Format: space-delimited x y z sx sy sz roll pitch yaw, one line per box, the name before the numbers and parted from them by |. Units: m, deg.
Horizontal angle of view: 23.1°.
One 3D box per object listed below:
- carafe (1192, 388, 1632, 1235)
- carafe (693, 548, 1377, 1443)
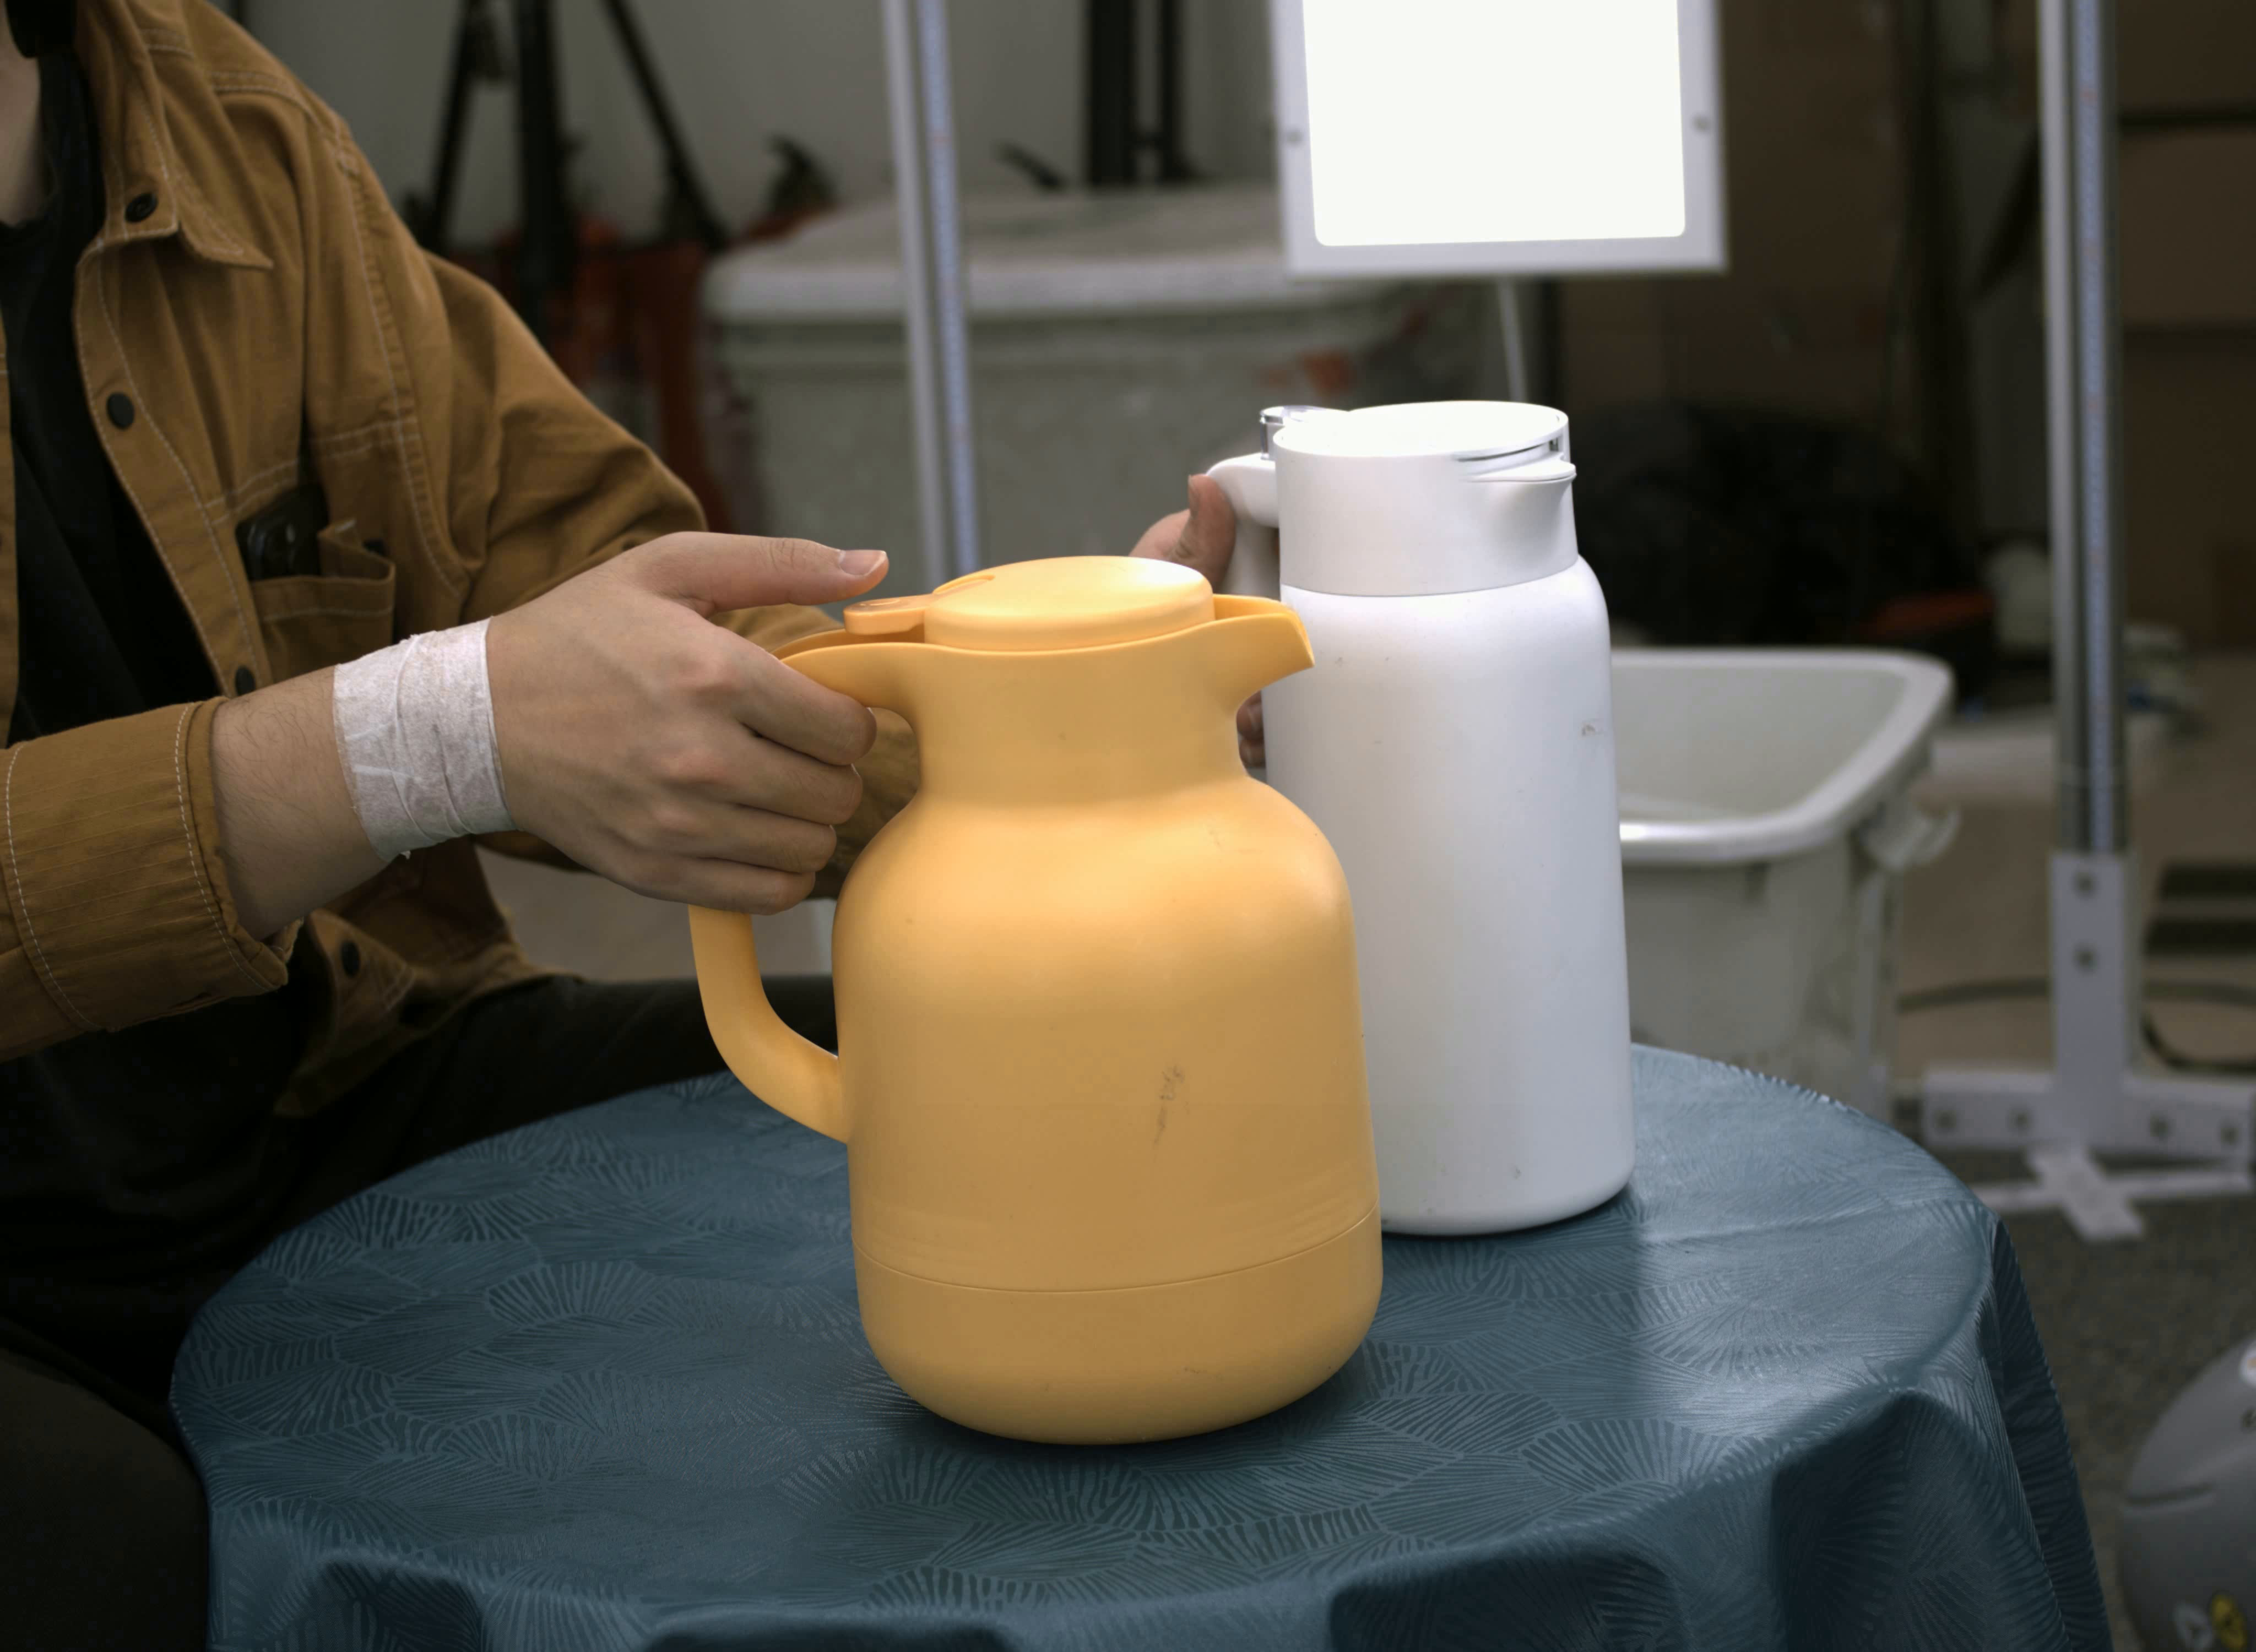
carafe | 0.092 -0.007 1.847 0.121 0.270 0.176 -18 19 -37
carafe | -0.028 0.048 1.678 0.203 0.261 0.162 -2 11 6
